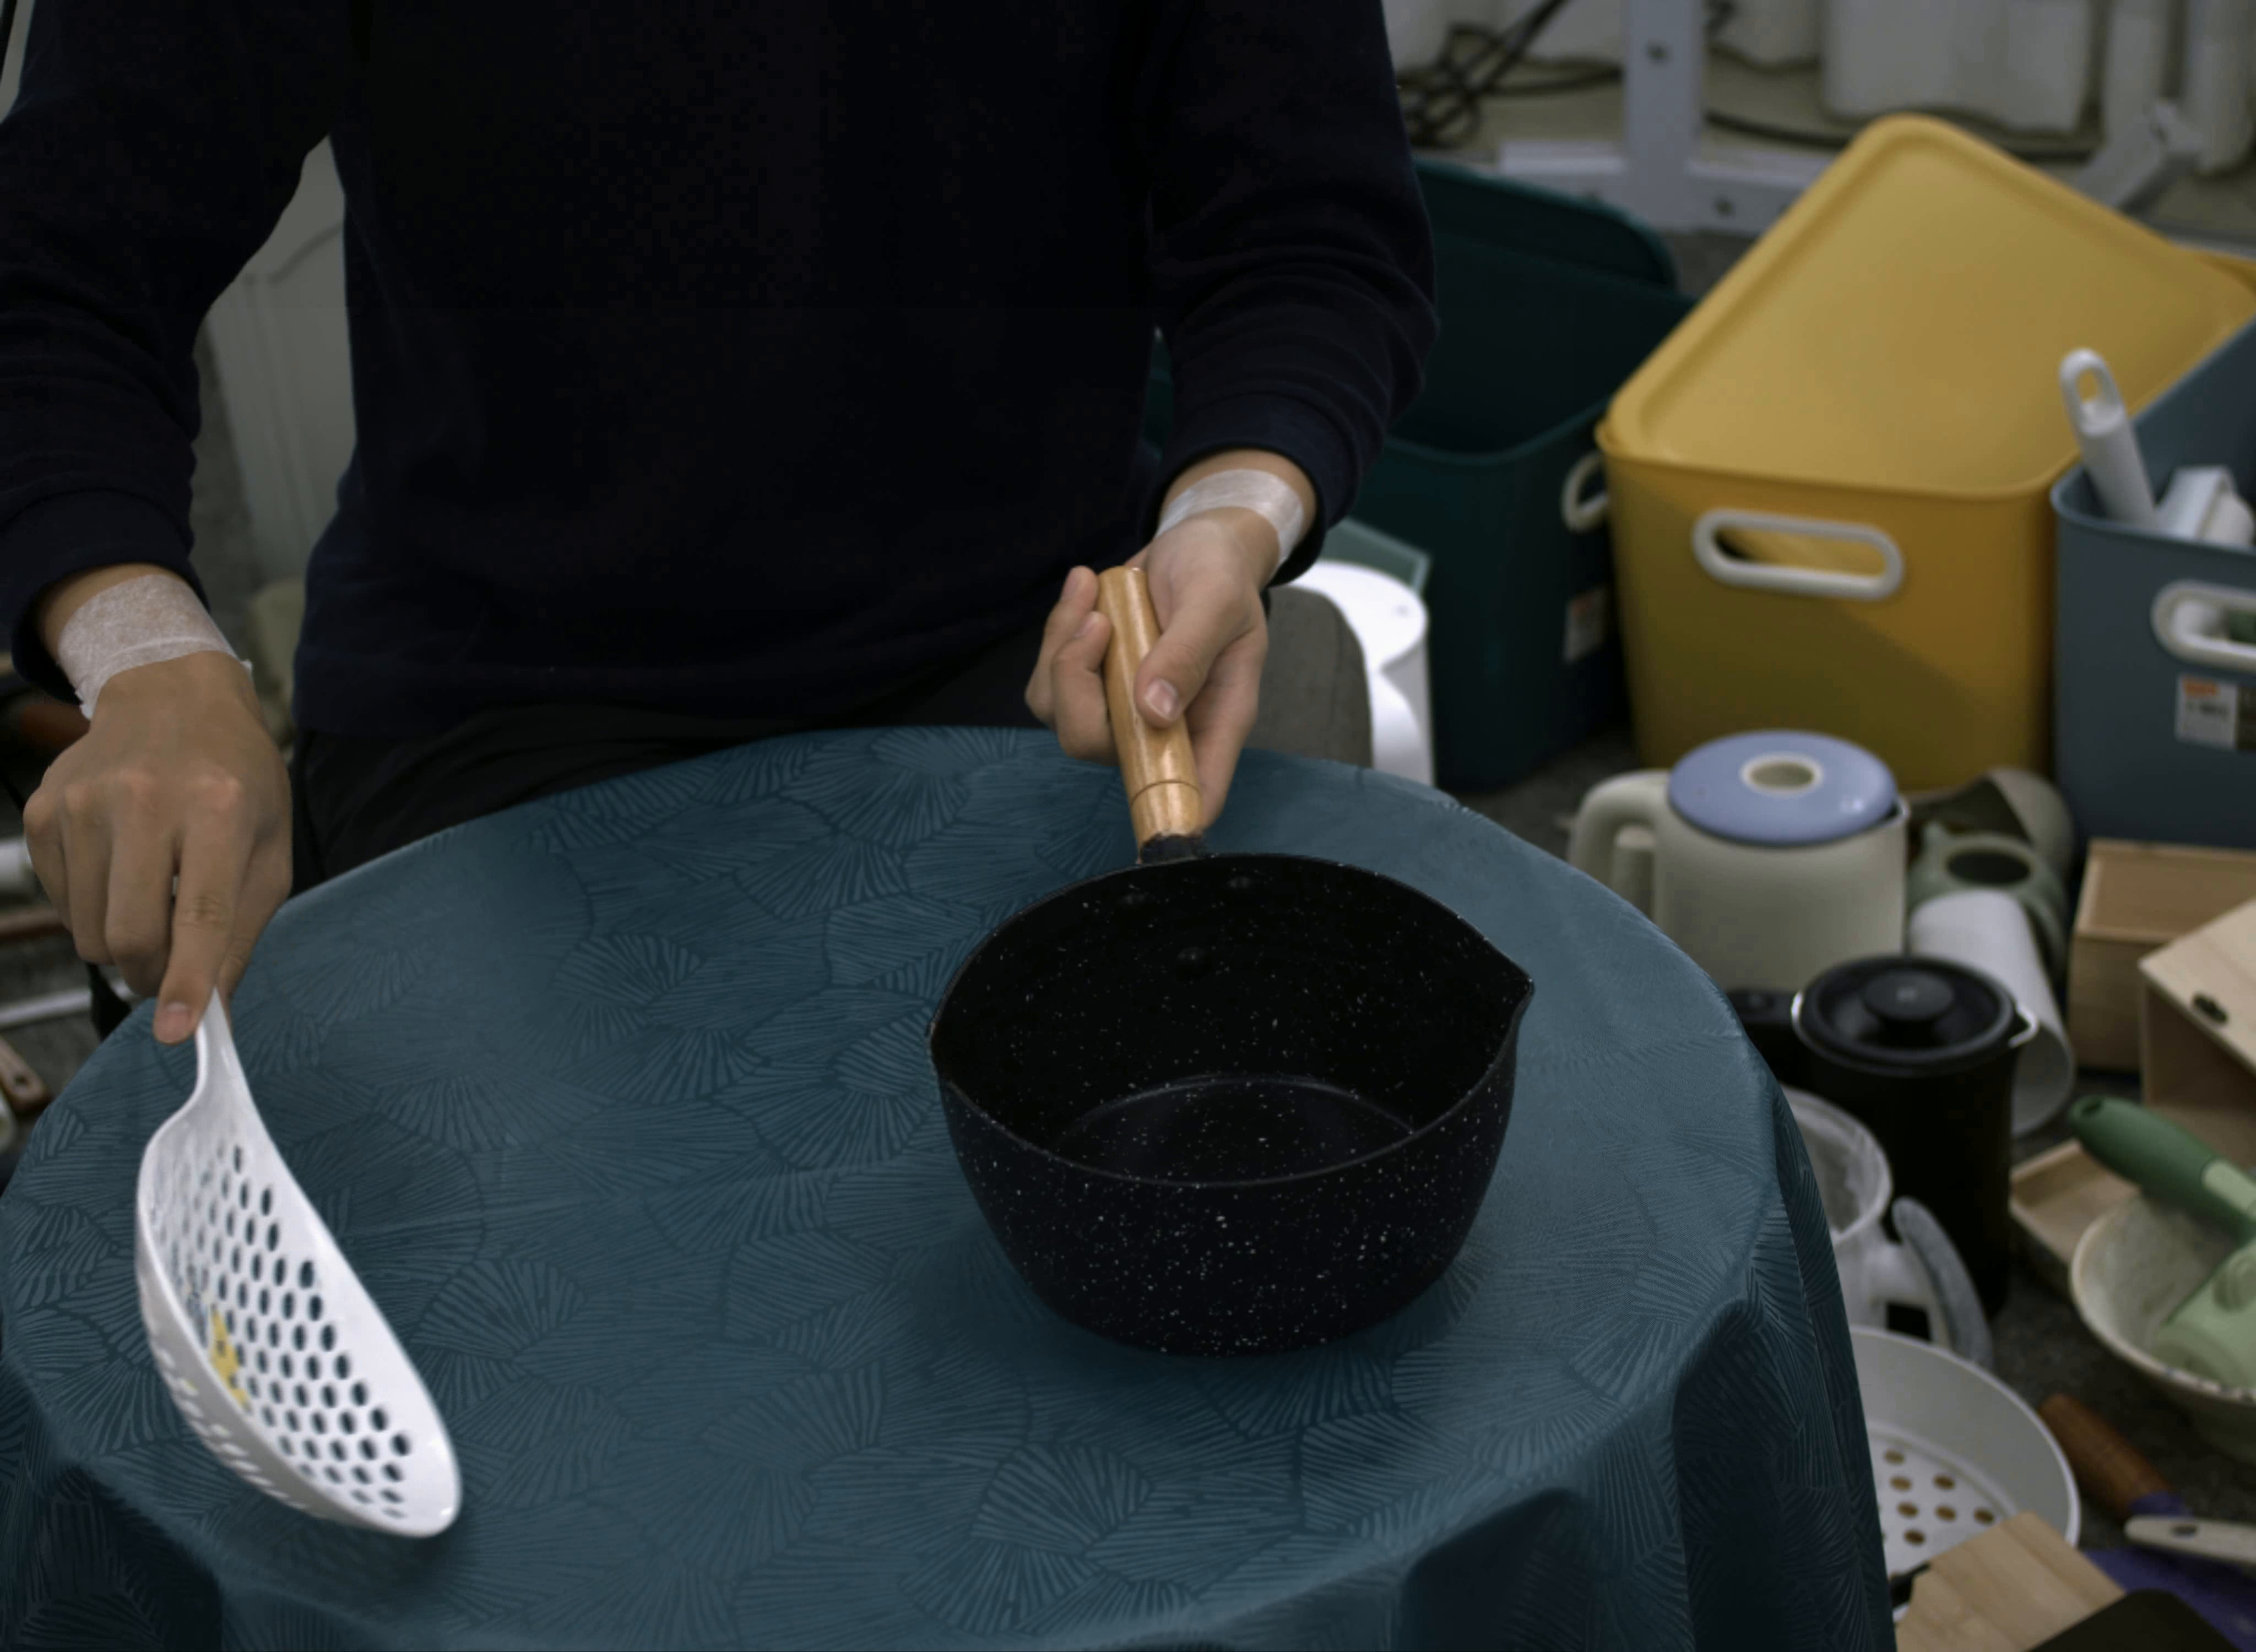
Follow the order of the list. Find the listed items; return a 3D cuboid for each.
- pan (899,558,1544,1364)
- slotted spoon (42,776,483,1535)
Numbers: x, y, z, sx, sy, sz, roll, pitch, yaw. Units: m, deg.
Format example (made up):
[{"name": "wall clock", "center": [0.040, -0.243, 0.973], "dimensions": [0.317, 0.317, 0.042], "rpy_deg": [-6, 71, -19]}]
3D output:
[{"name": "pan", "center": [0.021, 0.042, 1.872], "dimensions": [0.207, 0.107, 0.348], "rpy_deg": [-8, 34, -5]}, {"name": "slotted spoon", "center": [-0.289, 0.094, 1.763], "dimensions": [0.050, 0.136, 0.353], "rpy_deg": [-37, 44, 15]}]
